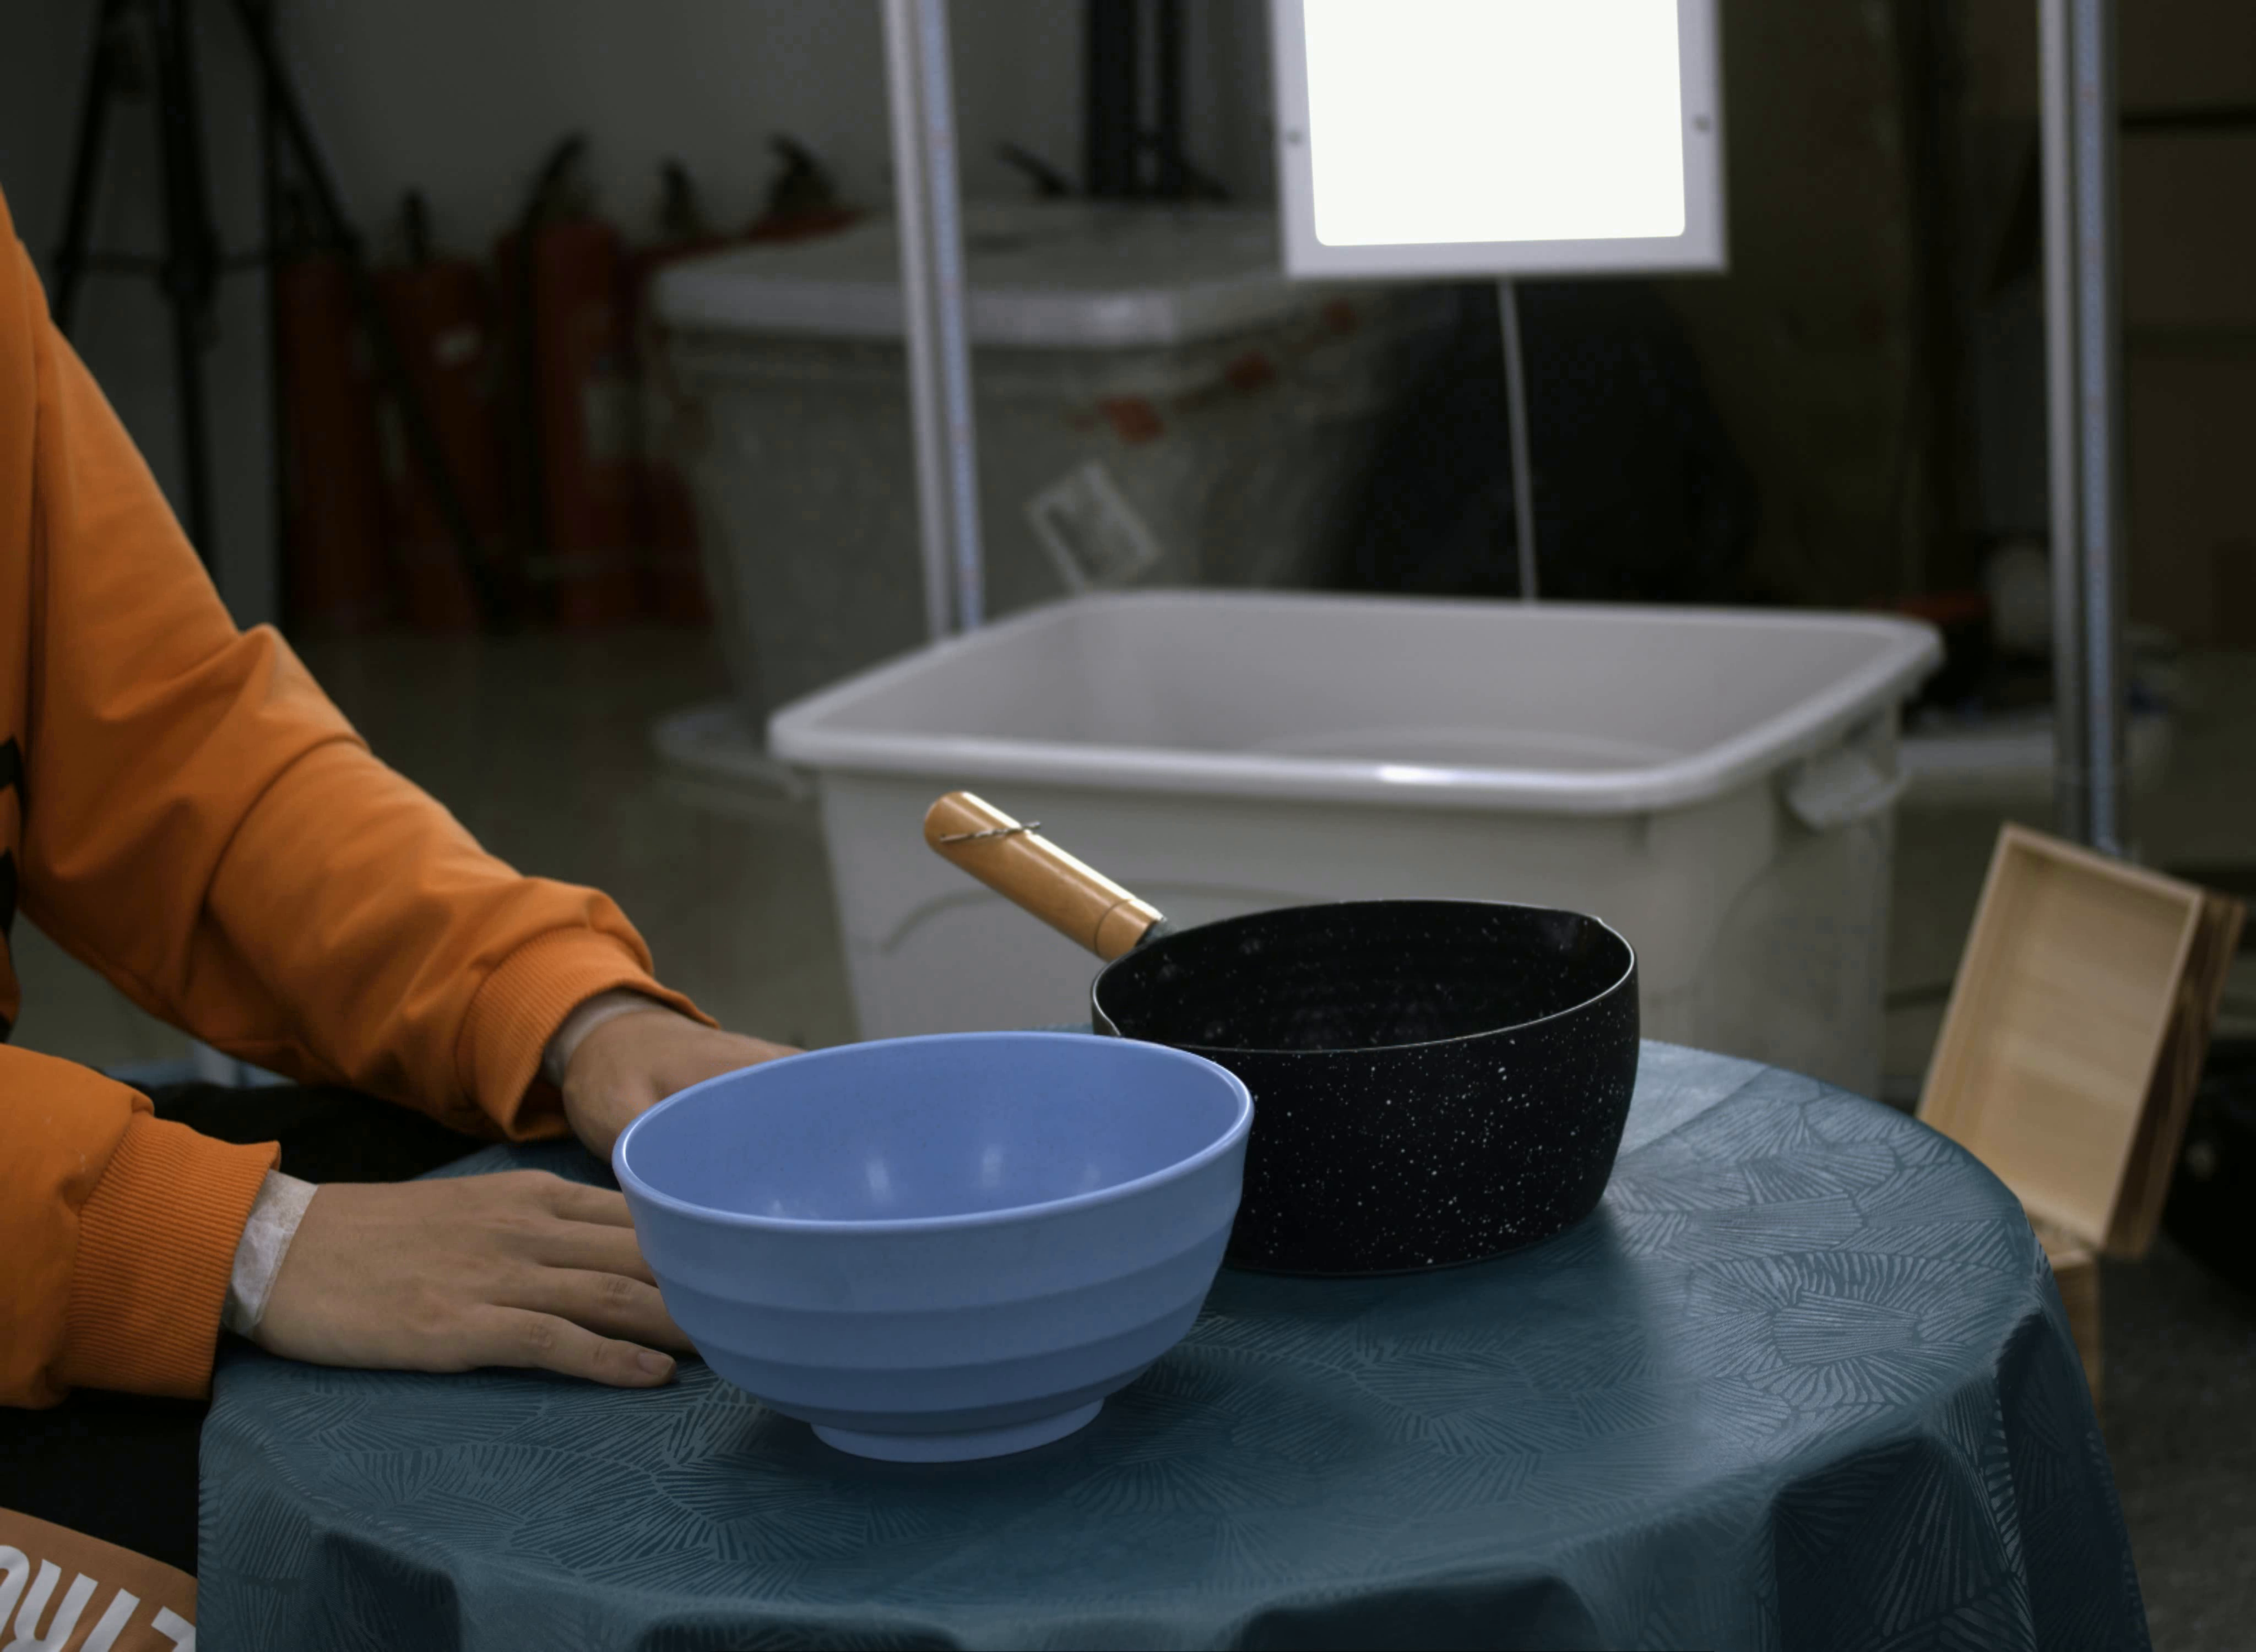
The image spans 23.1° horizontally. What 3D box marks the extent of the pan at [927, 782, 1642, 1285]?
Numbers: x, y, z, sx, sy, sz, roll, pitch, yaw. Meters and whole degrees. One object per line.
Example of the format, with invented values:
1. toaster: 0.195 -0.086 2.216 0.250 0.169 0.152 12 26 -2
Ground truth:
1. pan: 0.034 0.065 1.907 0.202 0.108 0.350 -16 19 -33

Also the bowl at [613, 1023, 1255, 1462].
1. bowl: -0.056 0.133 1.685 0.196 0.096 0.196 -5 15 0
